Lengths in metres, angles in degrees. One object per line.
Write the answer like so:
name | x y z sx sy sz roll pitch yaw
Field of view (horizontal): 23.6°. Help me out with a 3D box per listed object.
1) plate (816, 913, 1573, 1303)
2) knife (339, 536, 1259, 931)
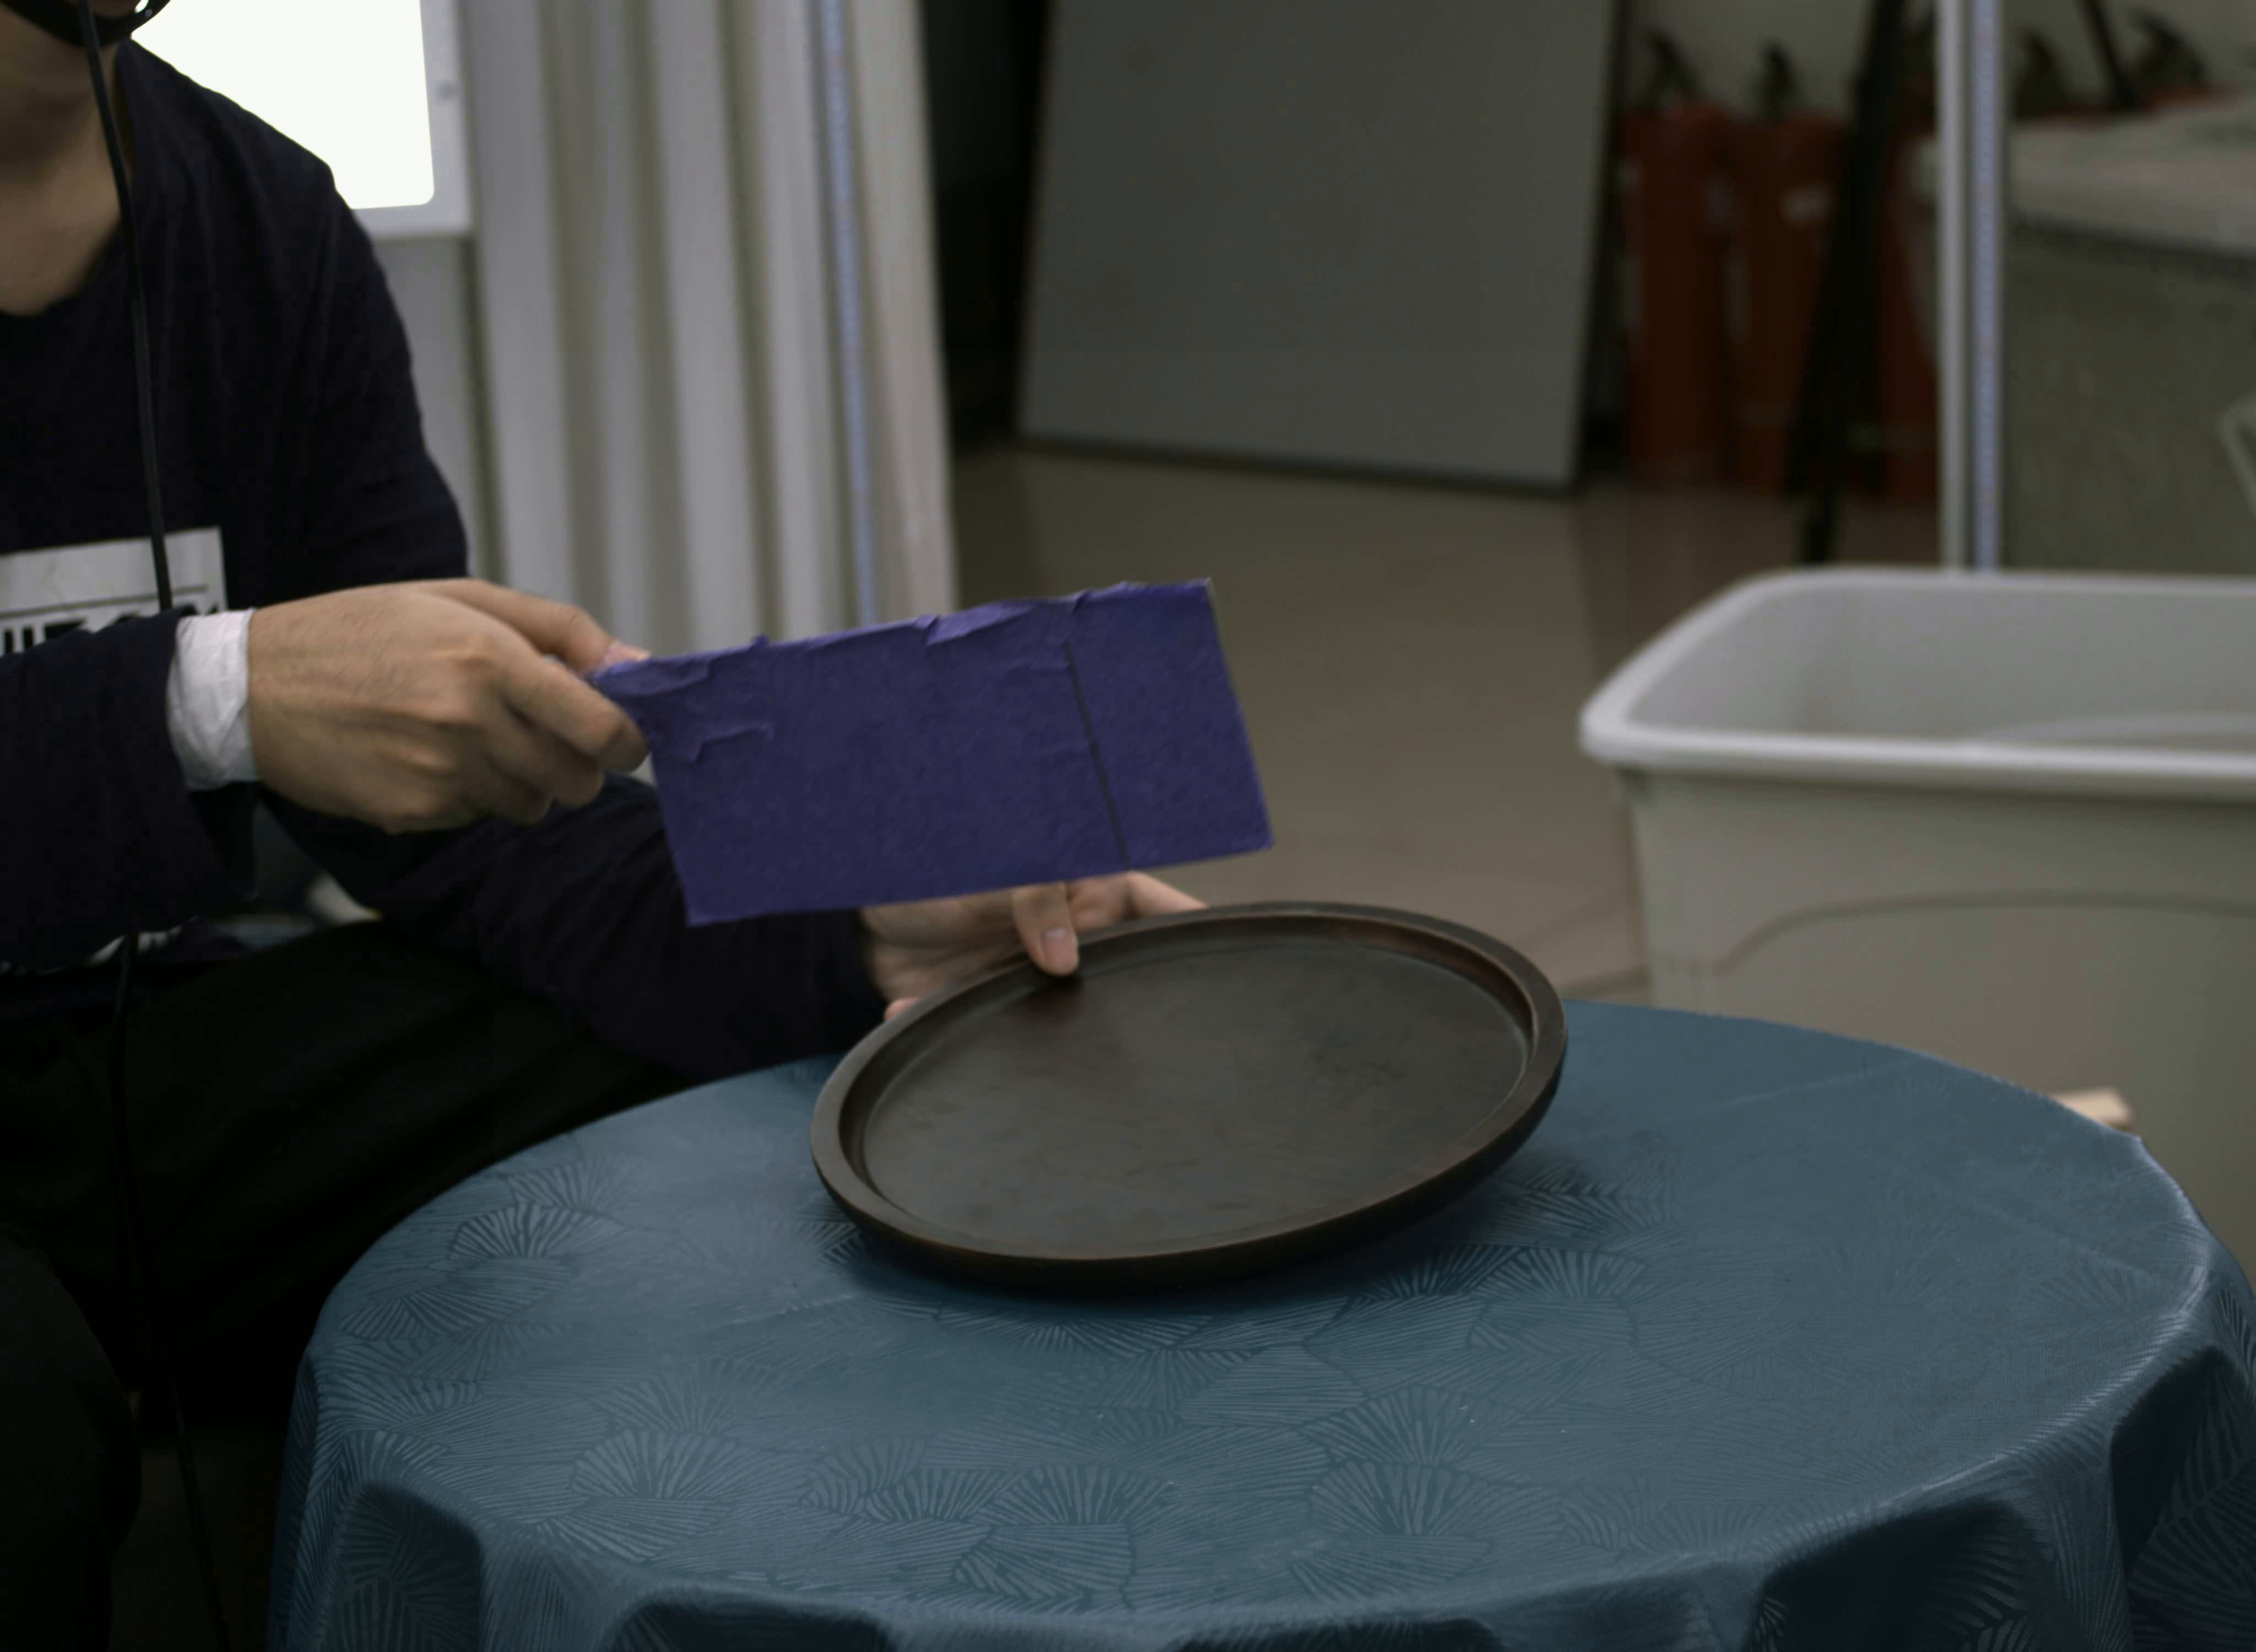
plate | 0.022 0.089 1.762 0.252 0.029 0.255 -9 23 3
knife | -0.107 -0.016 1.703 0.316 0.105 0.032 -9 10 29
